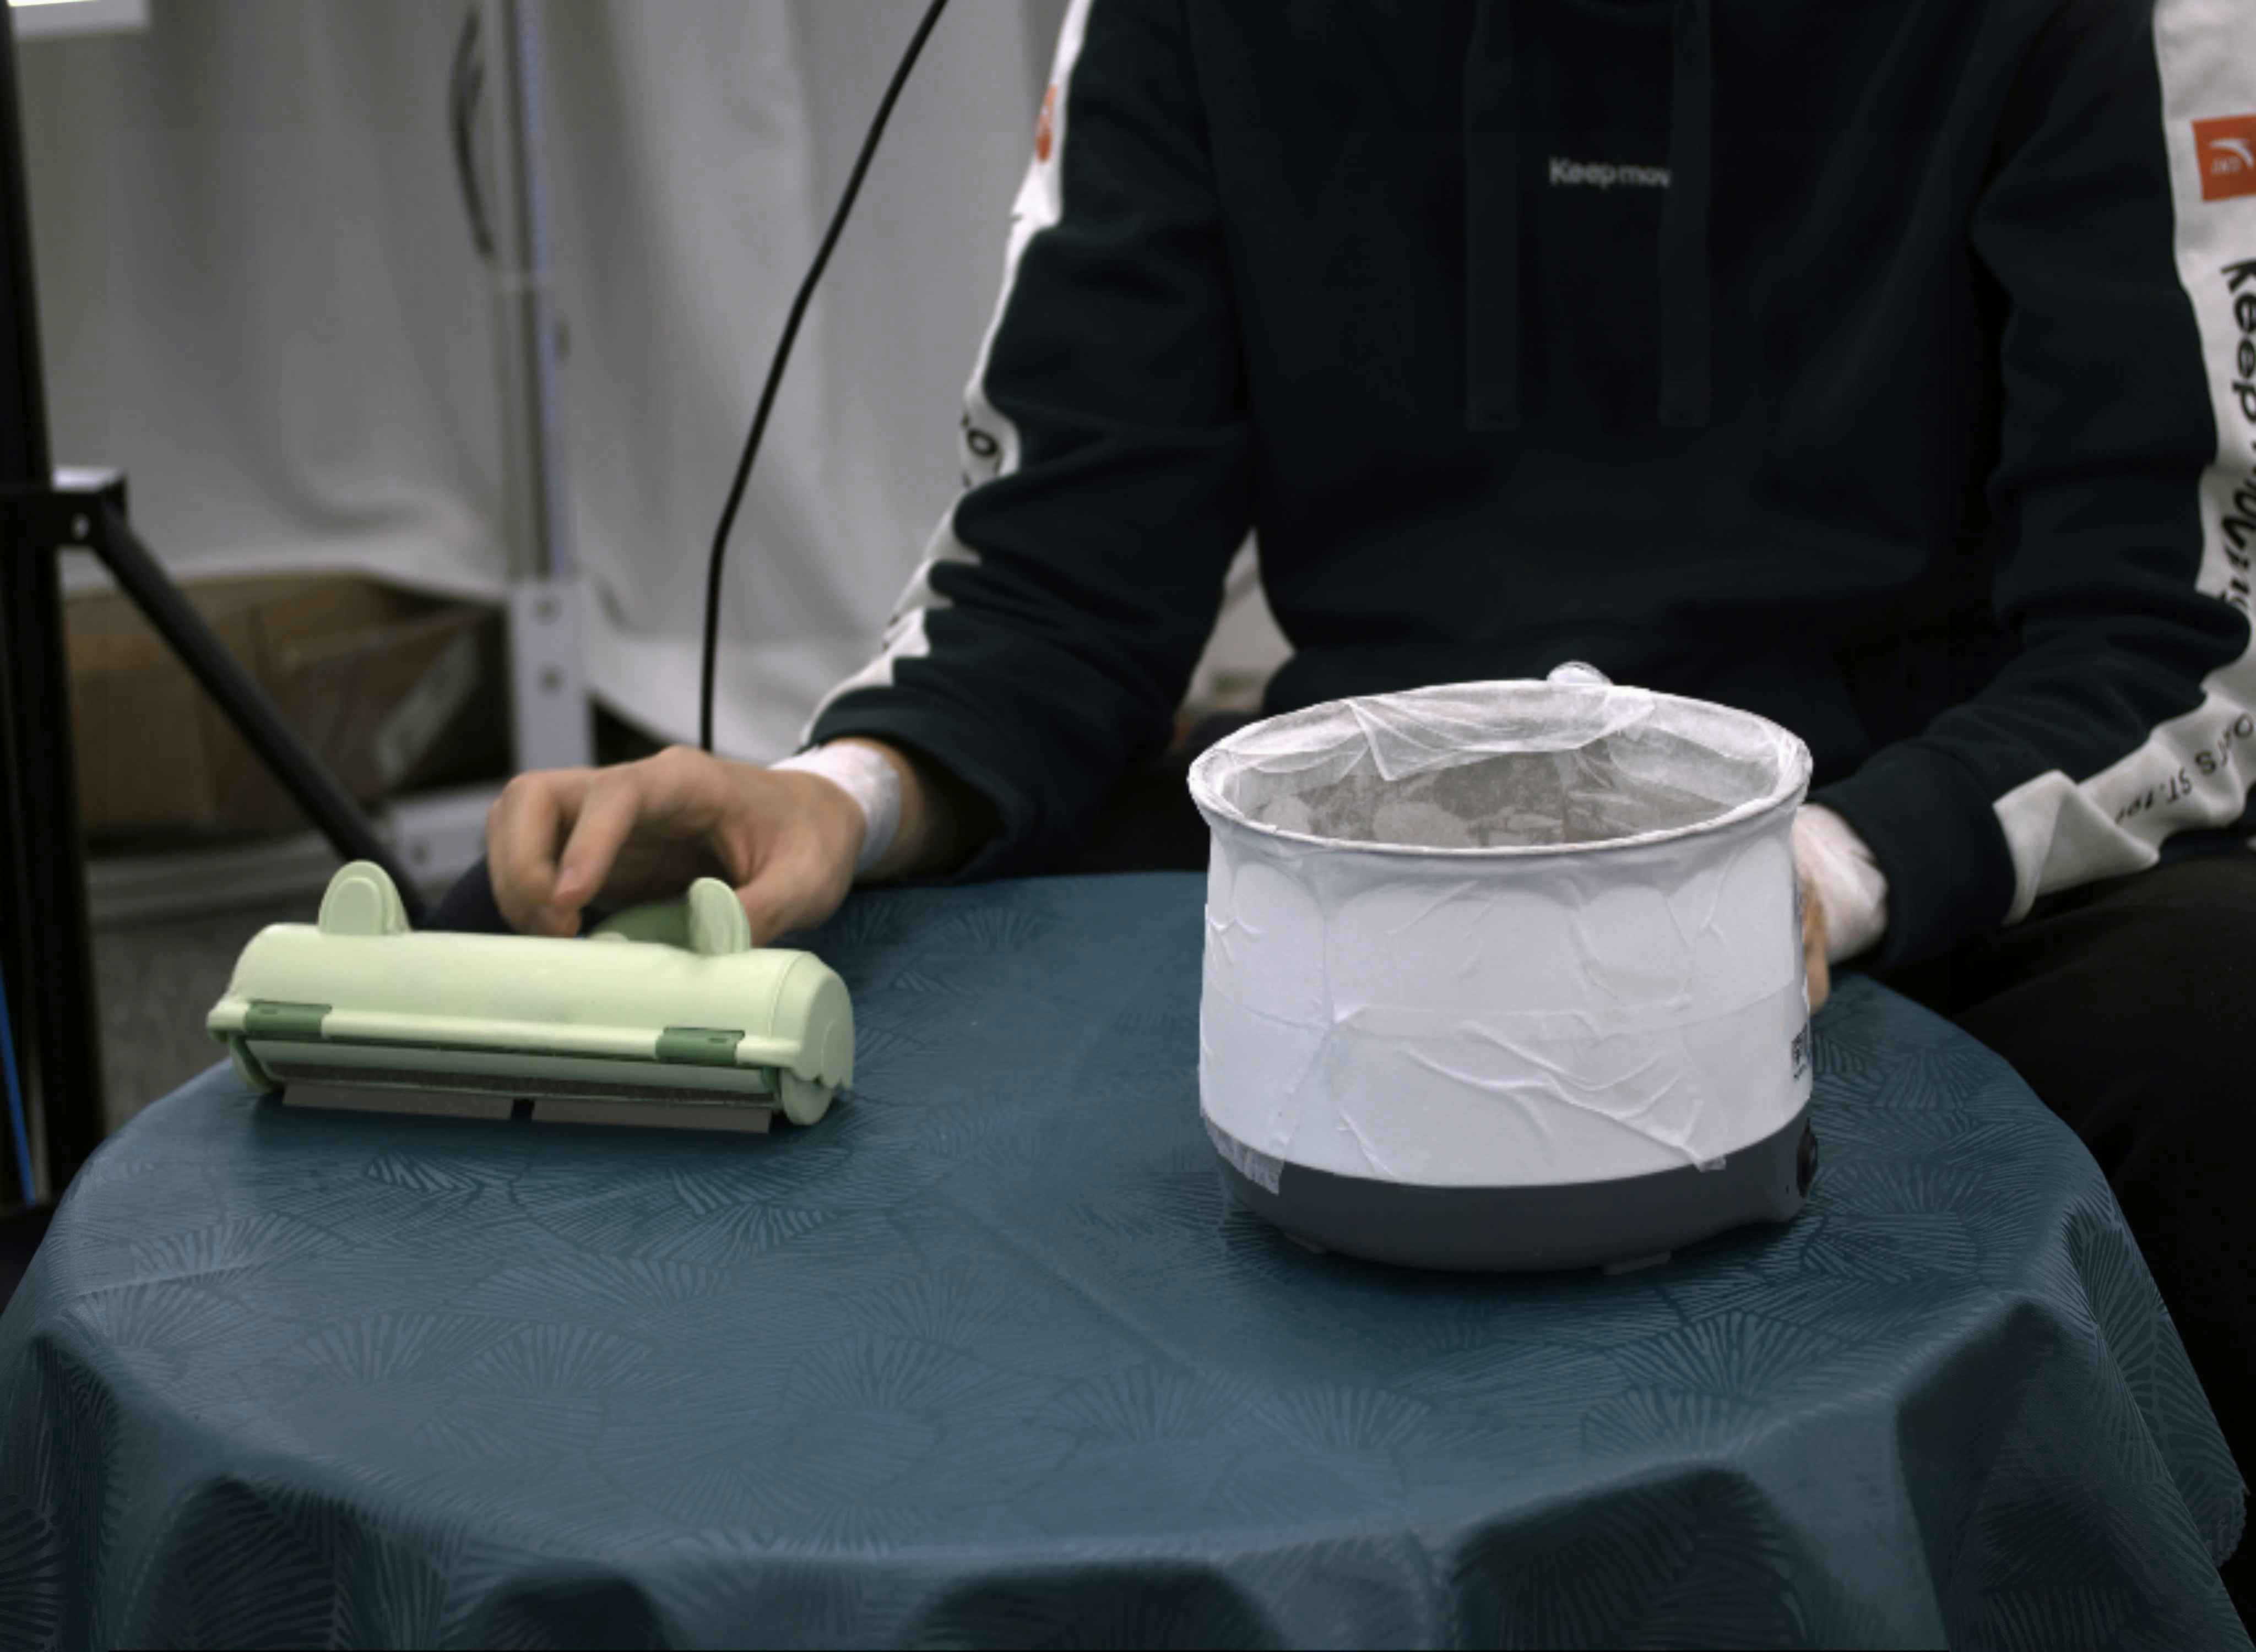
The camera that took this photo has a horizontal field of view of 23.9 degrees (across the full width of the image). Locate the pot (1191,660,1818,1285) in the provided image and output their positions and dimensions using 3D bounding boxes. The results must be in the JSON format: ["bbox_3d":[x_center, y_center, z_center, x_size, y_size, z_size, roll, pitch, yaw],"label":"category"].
[{"bbox_3d":[0.116,0.037,1.540,0.180,0.136,0.231,3,17,17],"label":"pot"}]

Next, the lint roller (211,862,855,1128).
[{"bbox_3d":[-0.169,0.036,1.705,0.200,0.082,0.182,2,21,18],"label":"lint roller"}]
